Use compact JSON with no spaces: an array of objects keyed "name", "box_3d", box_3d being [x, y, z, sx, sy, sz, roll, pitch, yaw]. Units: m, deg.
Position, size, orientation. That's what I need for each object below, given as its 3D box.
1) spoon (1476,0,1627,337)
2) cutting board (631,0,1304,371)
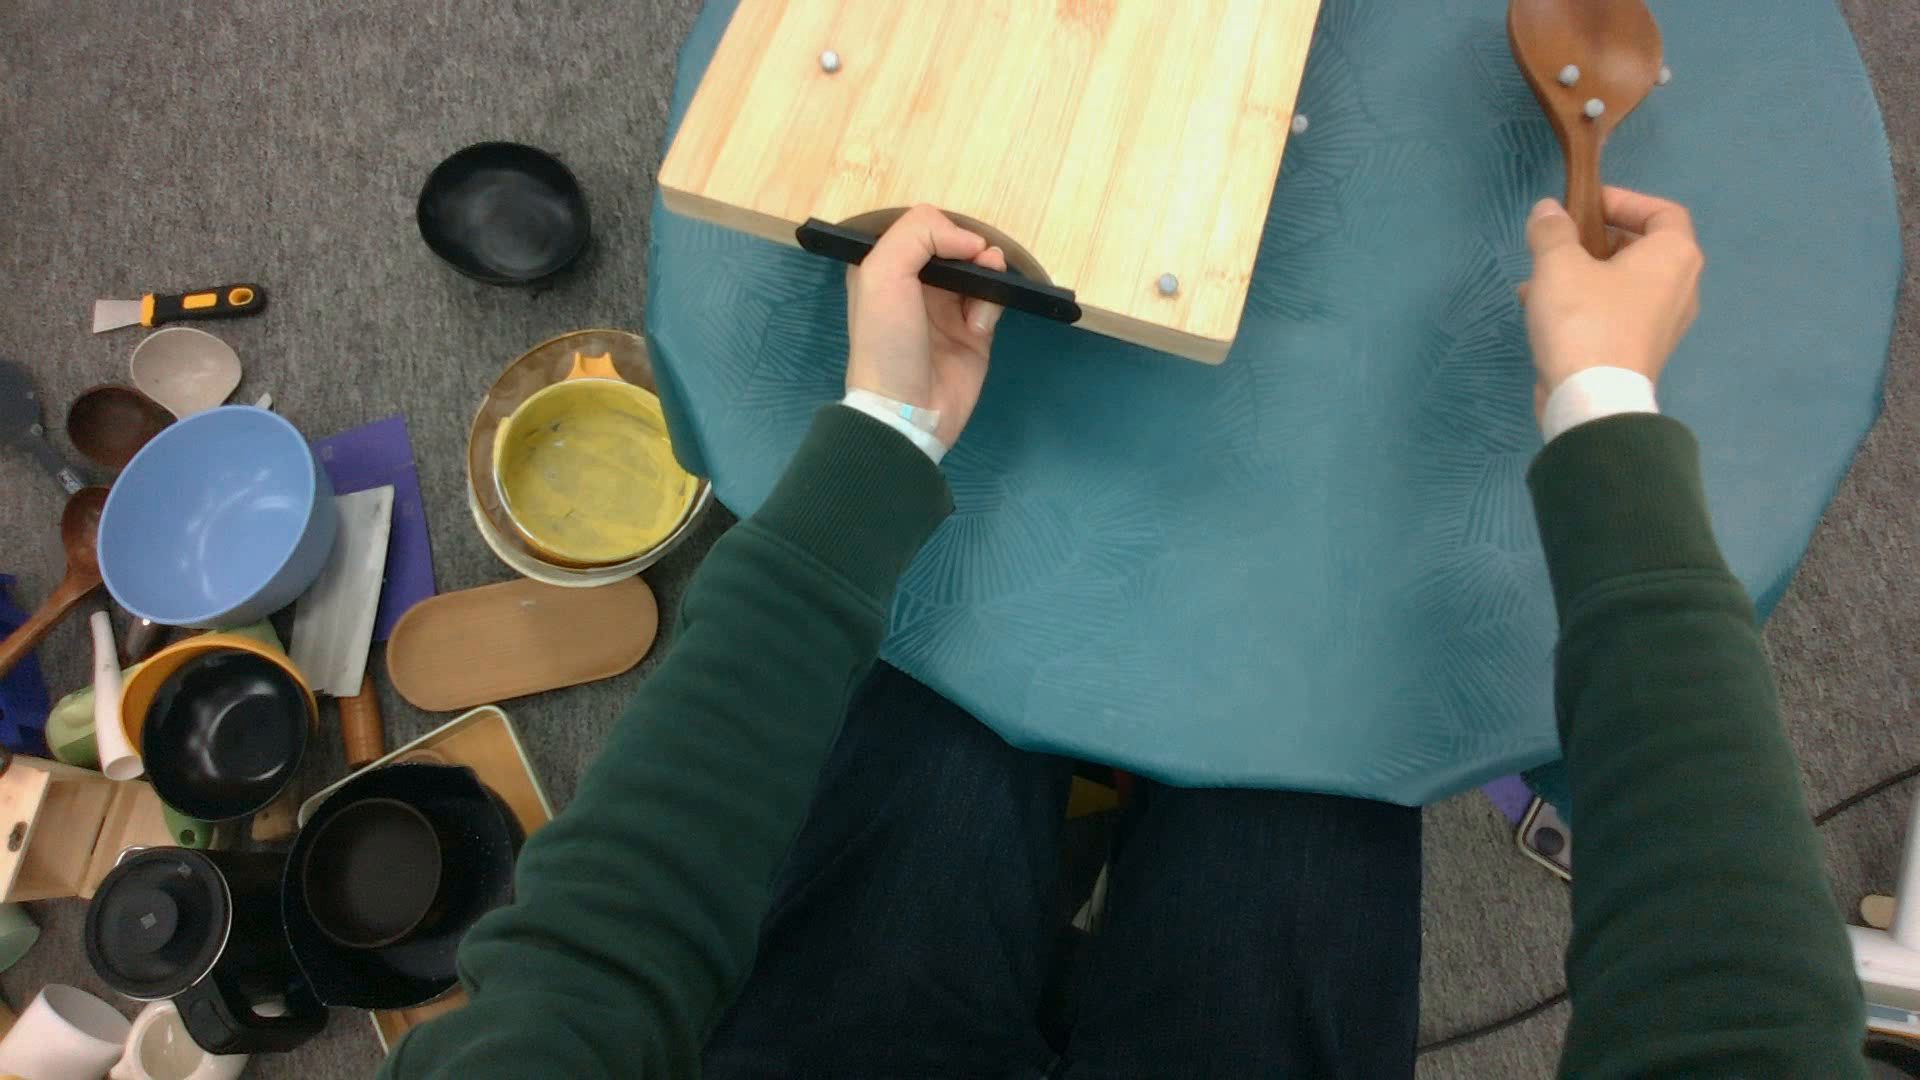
[{"name":"spoon","box_3d":[0.263,-0.179,0.614,0.075,0.017,0.217,14,62,-4]},{"name":"cutting board","box_3d":[0.031,-0.251,0.625,0.250,0.023,0.350,15,65,3]}]
